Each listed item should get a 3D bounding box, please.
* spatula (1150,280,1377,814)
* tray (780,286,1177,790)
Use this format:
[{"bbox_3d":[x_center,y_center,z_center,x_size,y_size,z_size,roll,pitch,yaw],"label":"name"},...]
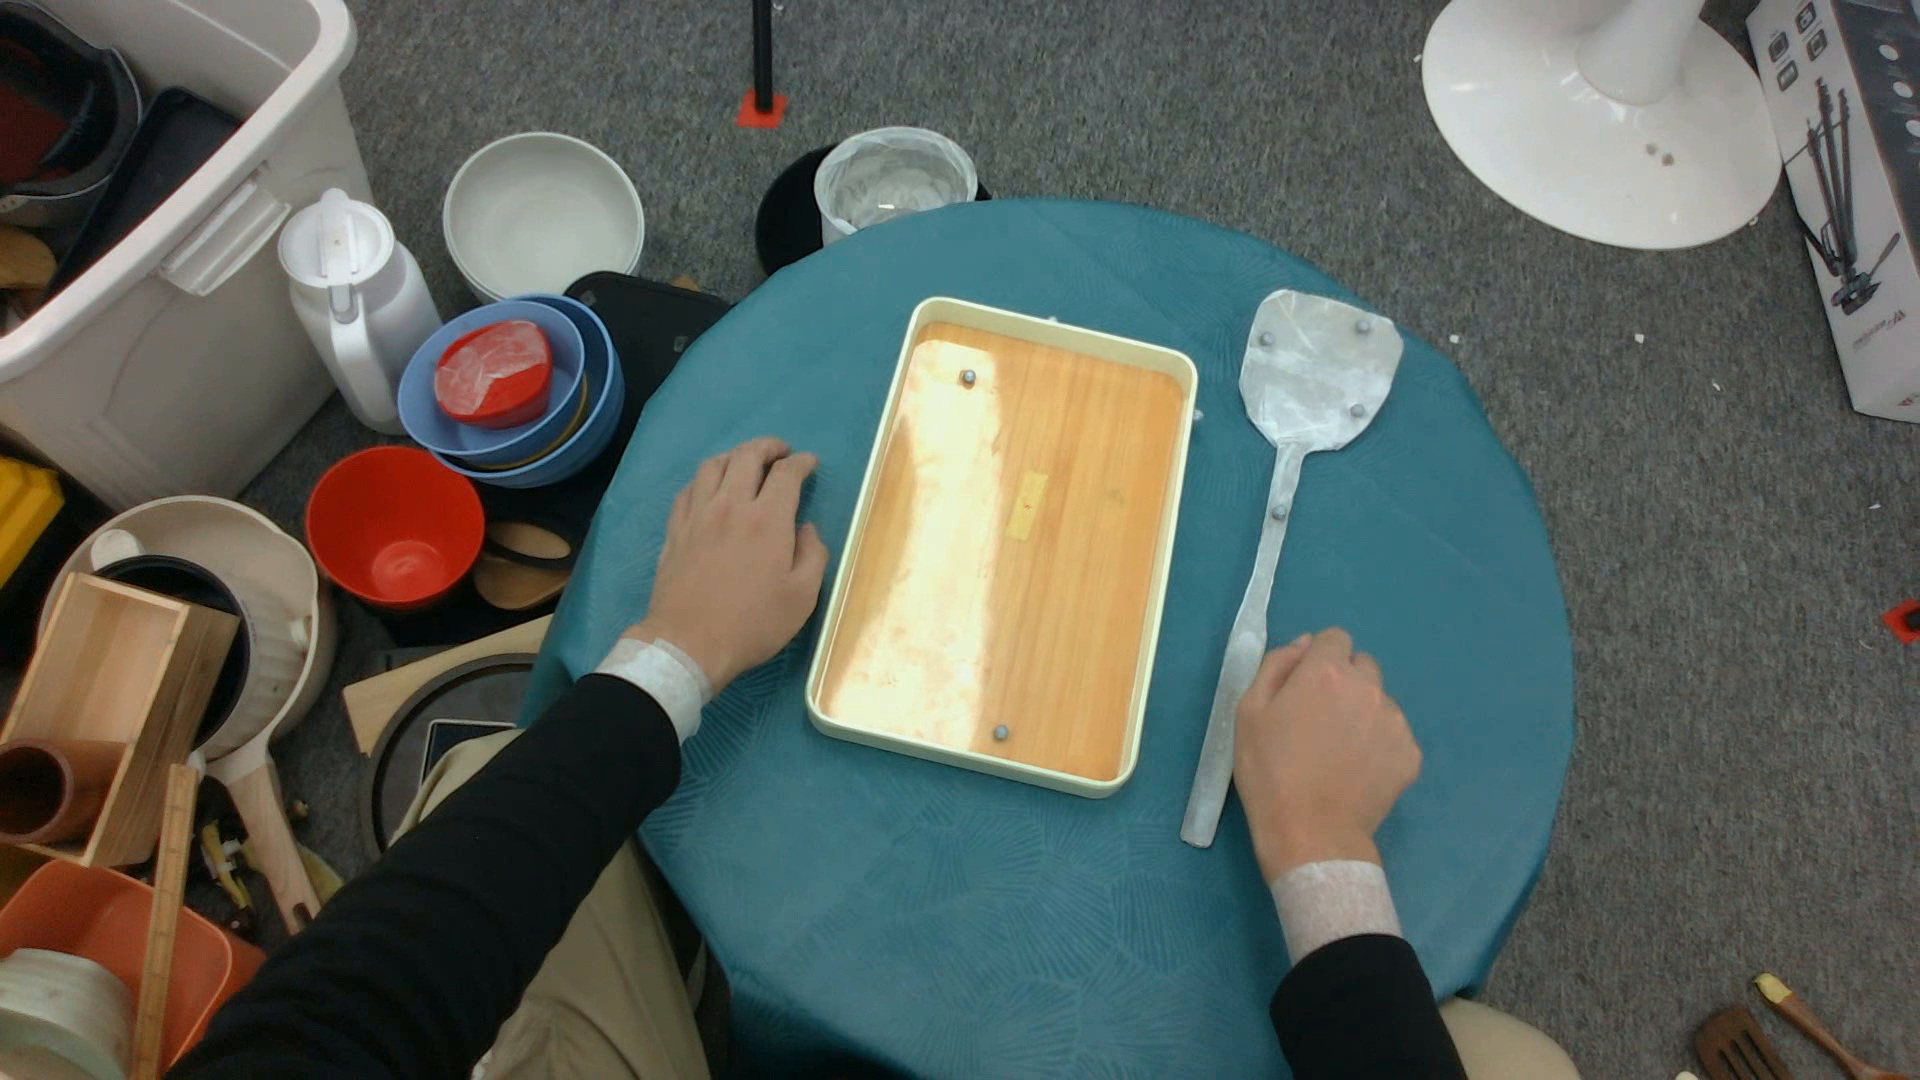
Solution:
[{"bbox_3d":[0.175,-0.003,0.842,0.098,0.044,0.366,19,63,2],"label":"spatula"},{"bbox_3d":[0.019,-0.011,0.833,0.191,0.027,0.301,14,63,0],"label":"tray"}]
